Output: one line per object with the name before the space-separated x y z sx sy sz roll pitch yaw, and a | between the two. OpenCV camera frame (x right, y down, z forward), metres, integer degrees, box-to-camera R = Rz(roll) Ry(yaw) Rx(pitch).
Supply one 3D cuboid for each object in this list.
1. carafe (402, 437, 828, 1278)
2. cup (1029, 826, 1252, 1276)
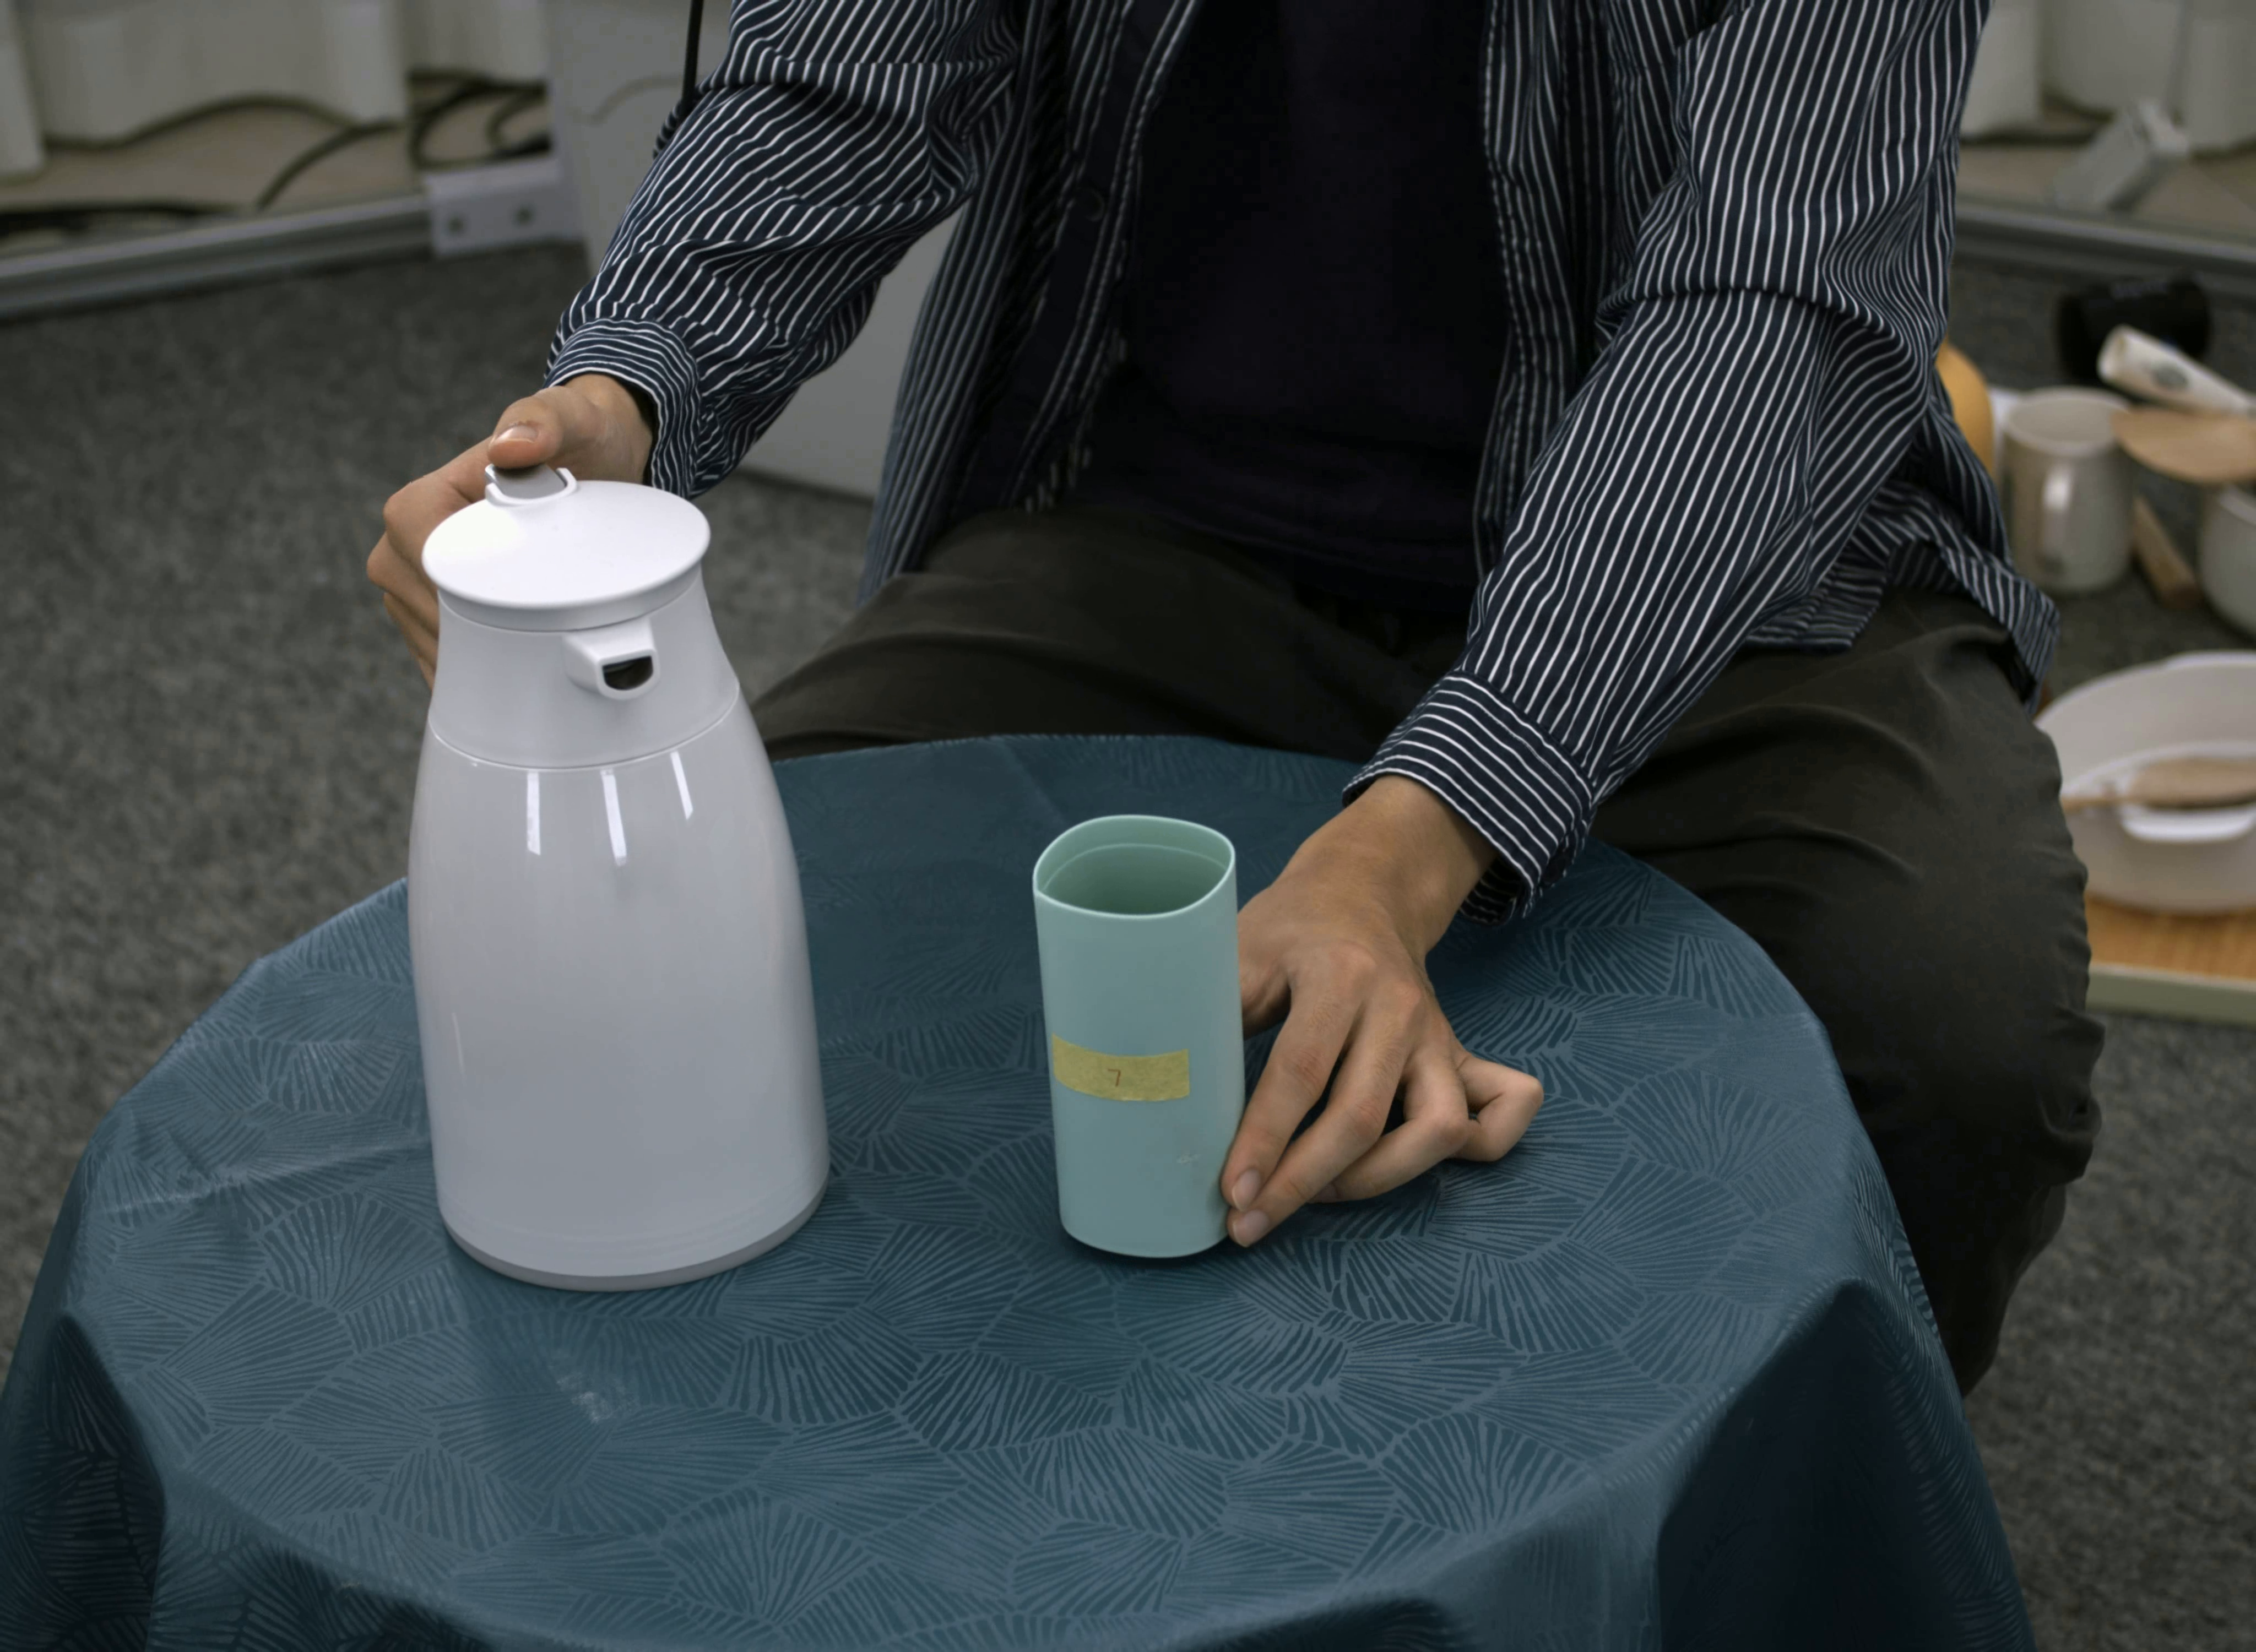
carafe | -0.181 0.000 1.834 0.133 0.246 0.168 -15 28 -21
cup | 0.006 0.072 1.807 0.066 0.131 0.068 -3 28 2
